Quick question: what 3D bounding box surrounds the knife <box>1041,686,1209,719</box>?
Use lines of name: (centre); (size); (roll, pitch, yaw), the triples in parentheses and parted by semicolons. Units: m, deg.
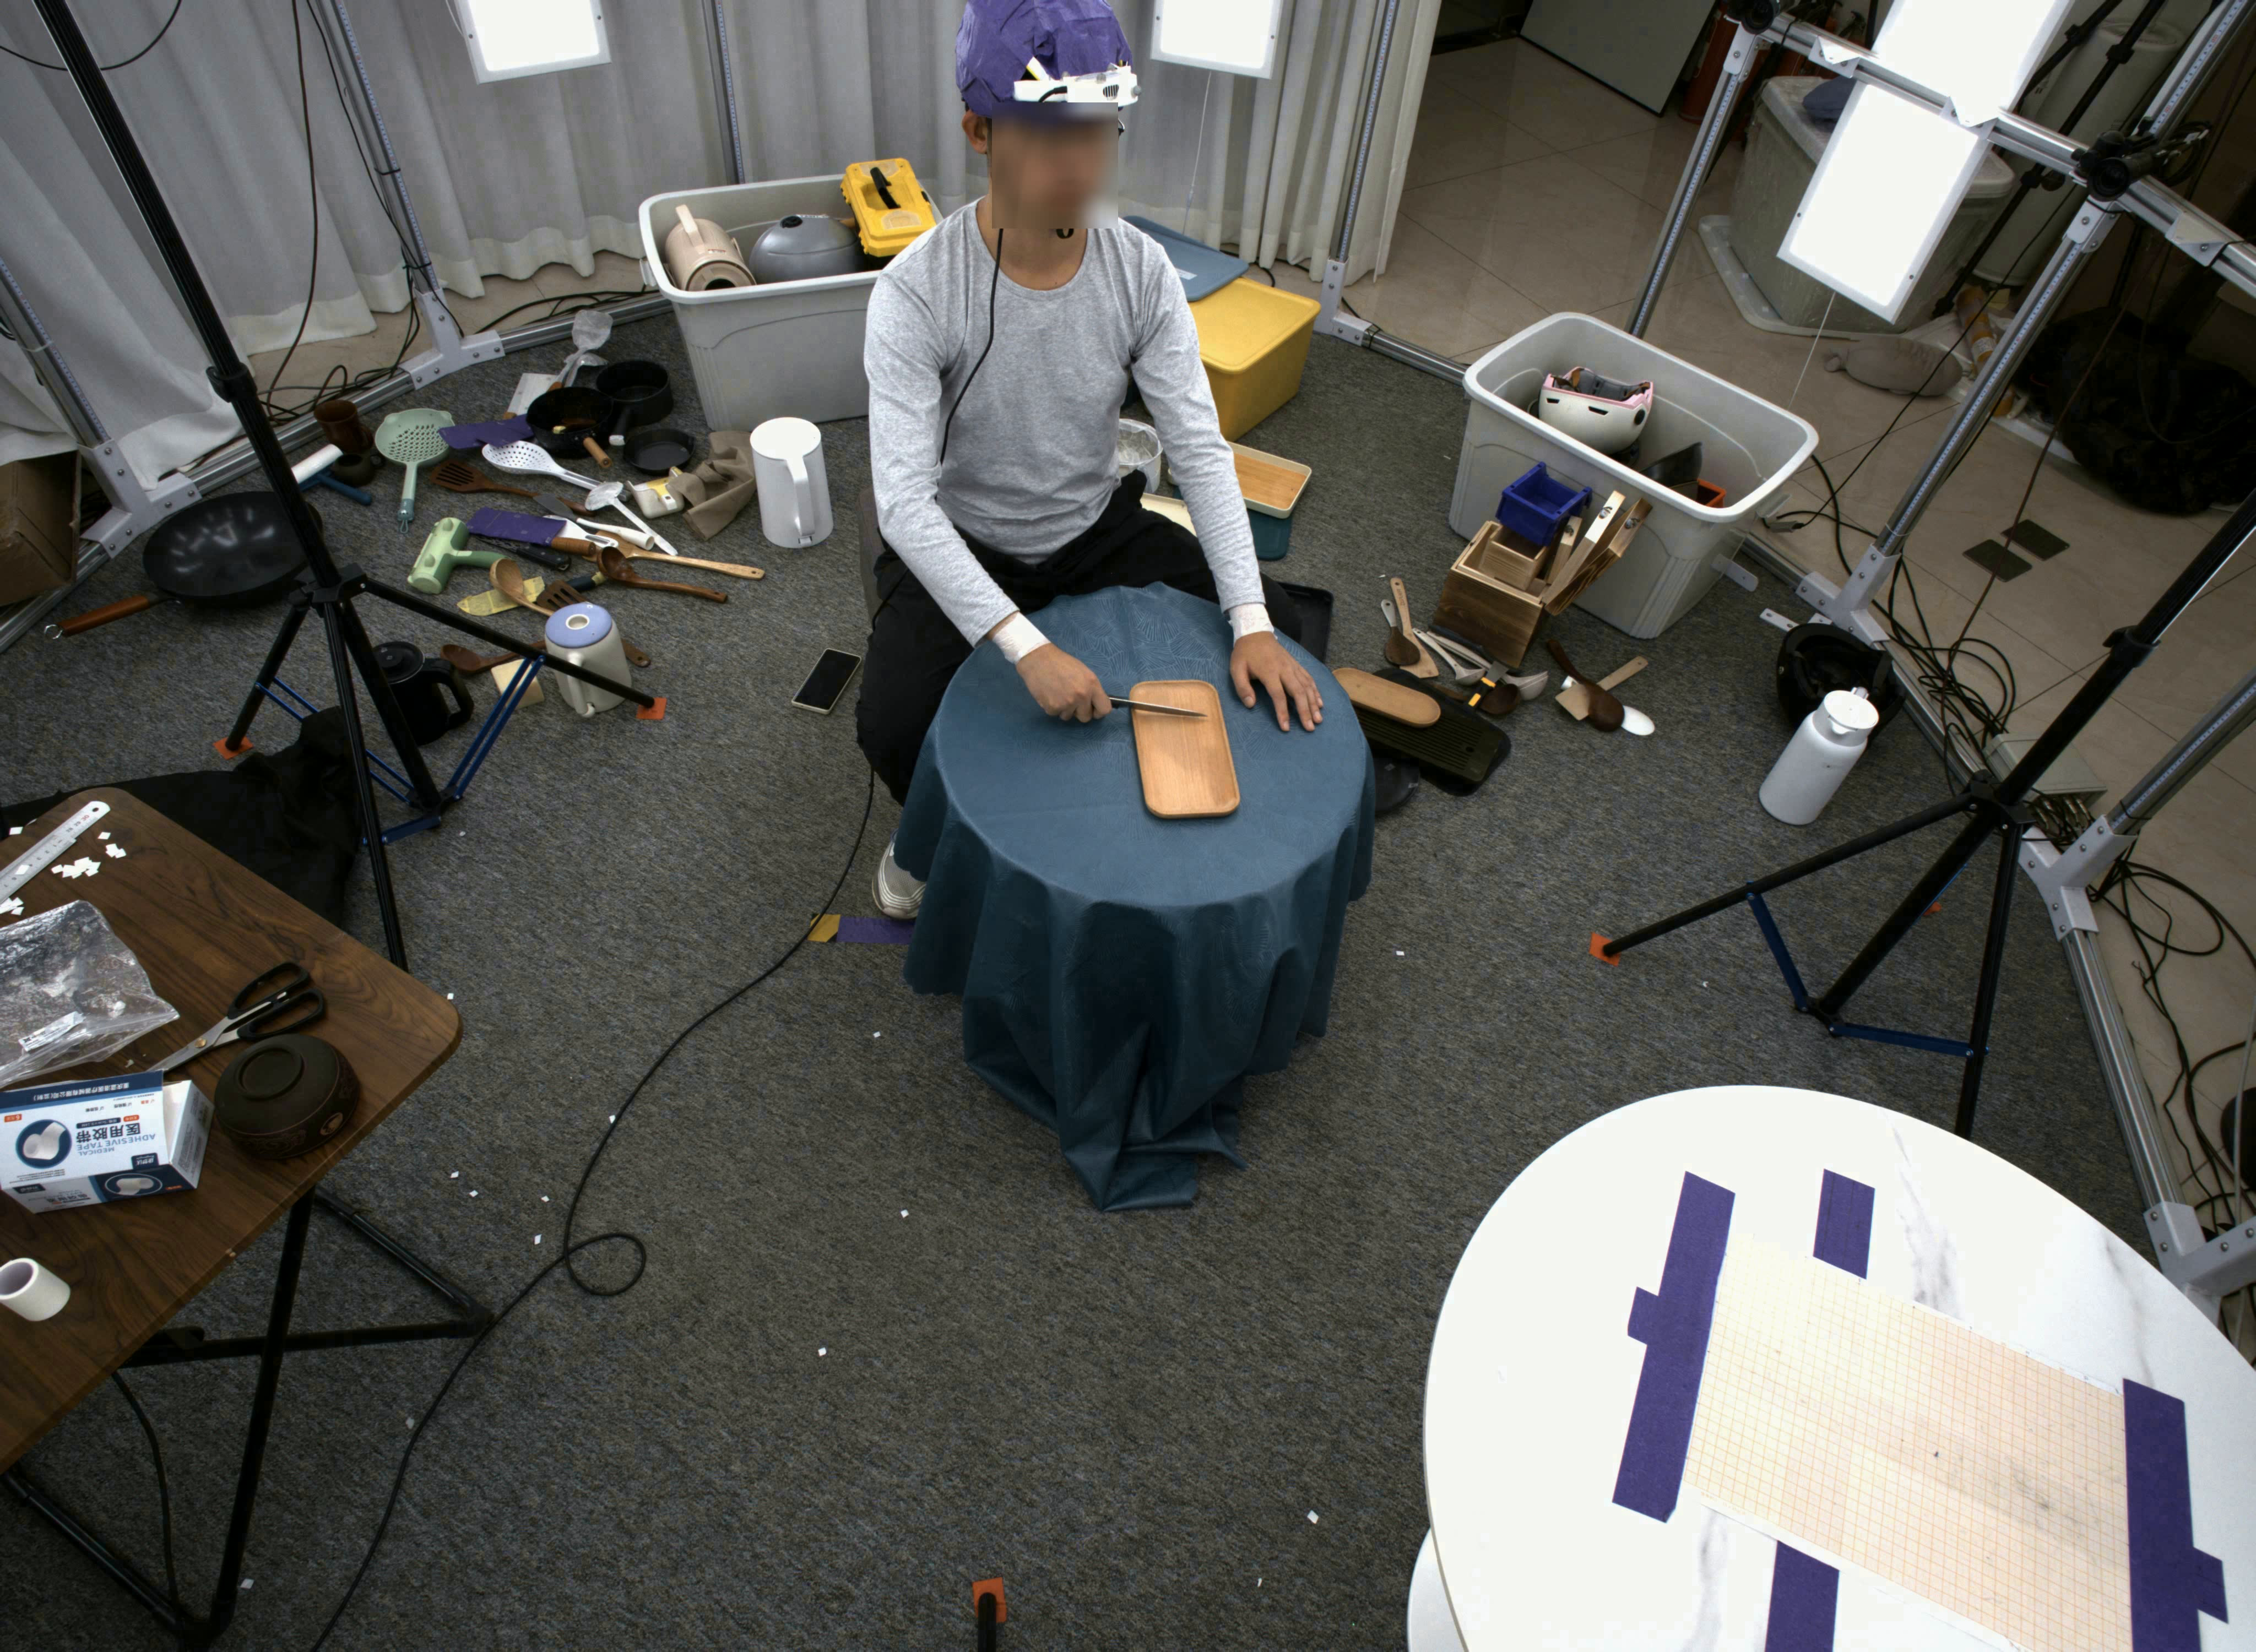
knife: (-0.002, -0.169, 1.778); (0.237, 0.024, 0.016); (9, 65, -7)

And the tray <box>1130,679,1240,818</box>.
tray: (0.075, -0.109, 1.756); (0.130, 0.022, 0.257); (0, 48, -7)
